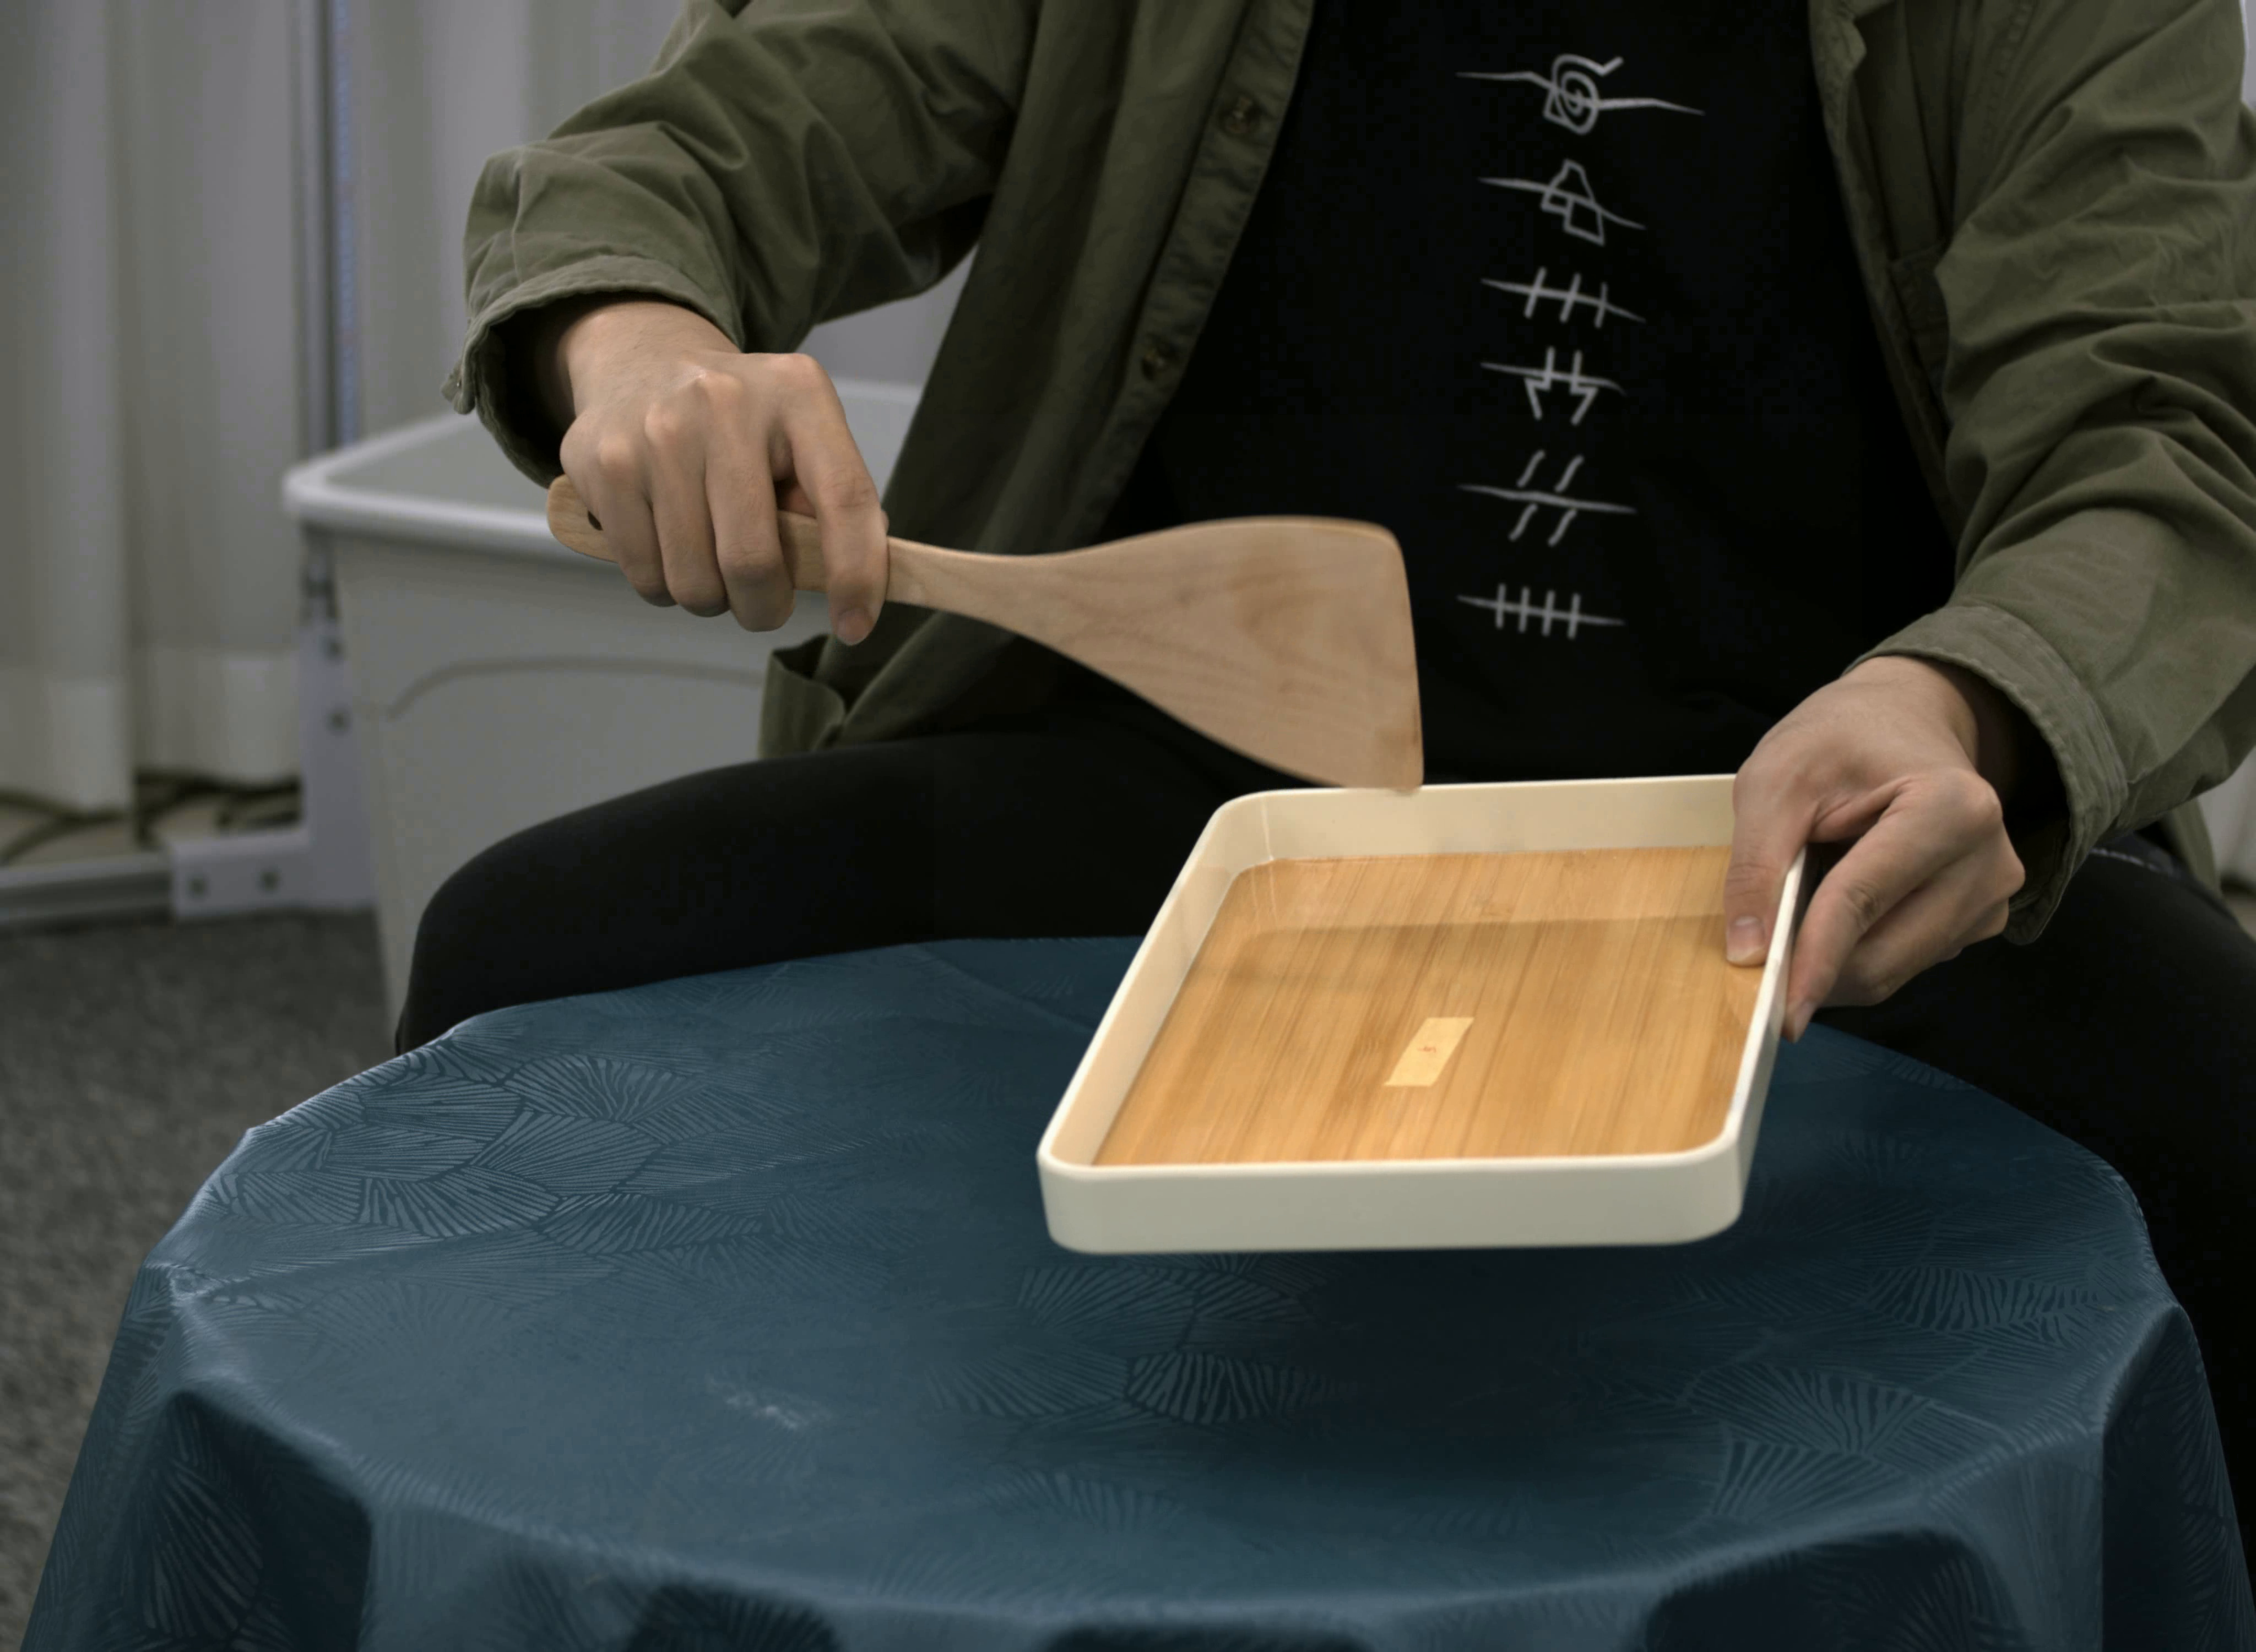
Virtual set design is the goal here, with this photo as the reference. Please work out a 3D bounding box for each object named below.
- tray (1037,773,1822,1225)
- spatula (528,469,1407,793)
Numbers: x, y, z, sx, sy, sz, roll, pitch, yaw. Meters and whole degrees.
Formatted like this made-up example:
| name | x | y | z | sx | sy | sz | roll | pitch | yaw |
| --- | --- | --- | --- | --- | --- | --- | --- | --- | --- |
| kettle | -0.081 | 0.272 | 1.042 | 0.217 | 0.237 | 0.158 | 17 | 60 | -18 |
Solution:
| name | x | y | z | sx | sy | sz | roll | pitch | yaw |
| --- | --- | --- | --- | --- | --- | --- | --- | --- | --- |
| tray | 0.095 | 0.046 | 1.524 | 0.190 | 0.027 | 0.299 | -1 | 19 | 13 |
| spatula | -0.054 | -0.075 | 1.606 | 0.324 | 0.080 | 0.016 | 12 | 18 | 28 |
